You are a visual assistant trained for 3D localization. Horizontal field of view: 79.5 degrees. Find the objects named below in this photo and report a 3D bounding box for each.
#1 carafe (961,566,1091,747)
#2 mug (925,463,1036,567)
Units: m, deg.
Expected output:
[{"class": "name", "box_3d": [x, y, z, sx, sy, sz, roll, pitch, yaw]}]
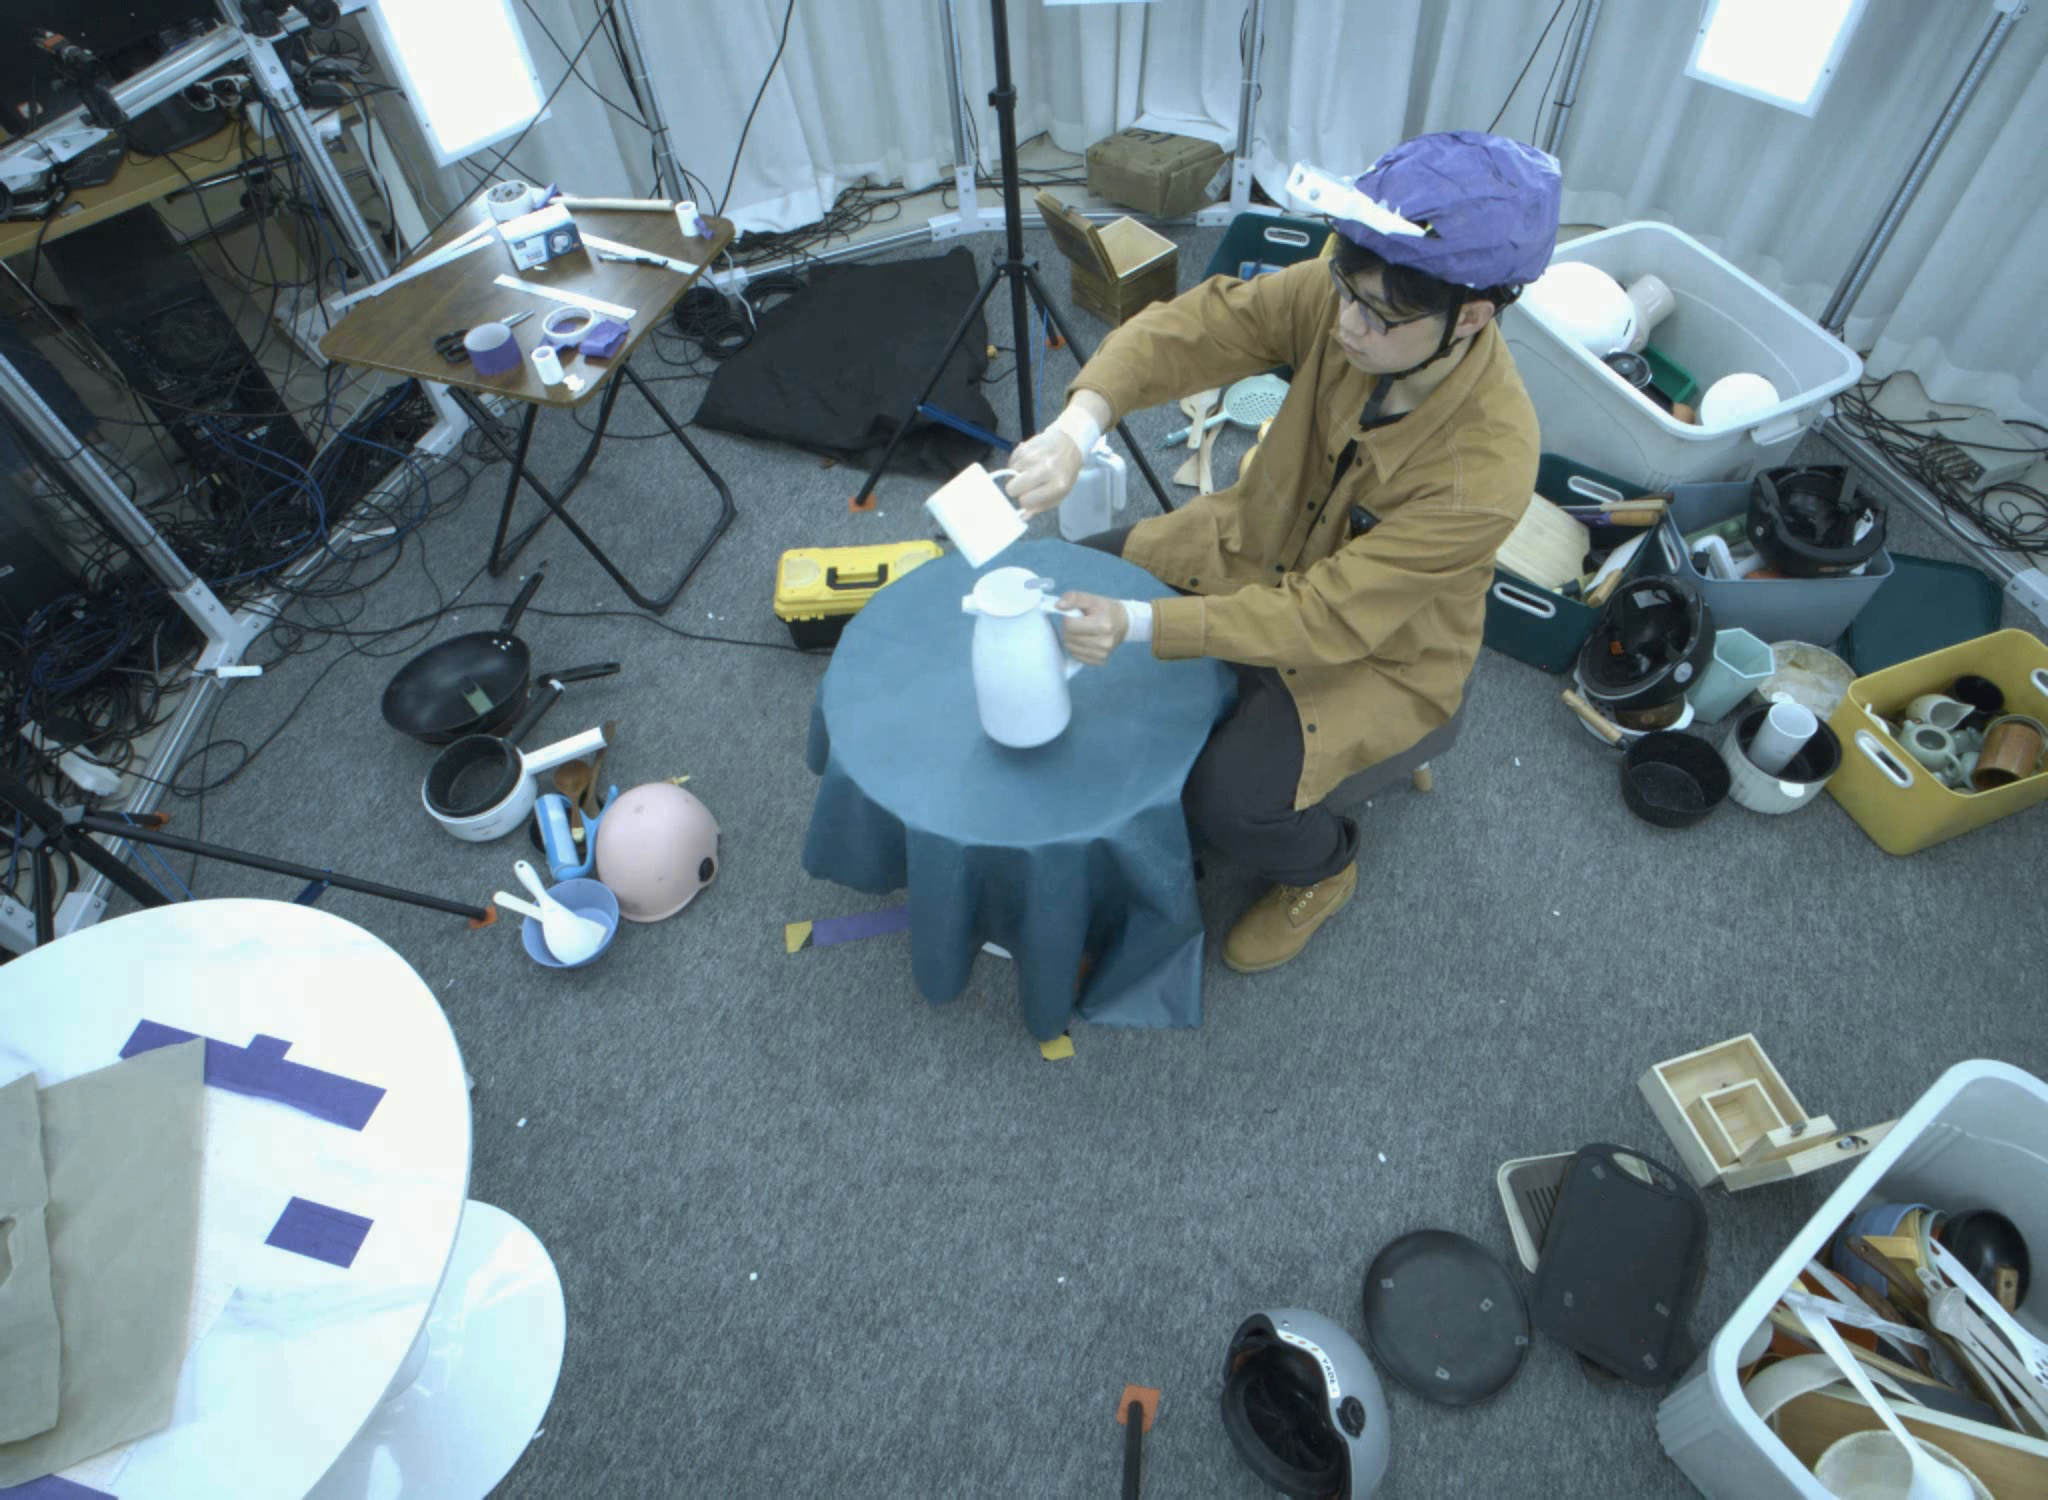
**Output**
[{"class": "carafe", "box_3d": [0.008, -0.135, 1.669, 0.167, 0.252, 0.131, -5, 50, 2]}, {"class": "mug", "box_3d": [-0.048, -0.300, 1.498, 0.118, 0.084, 0.103, -38, 104, 1]}]
